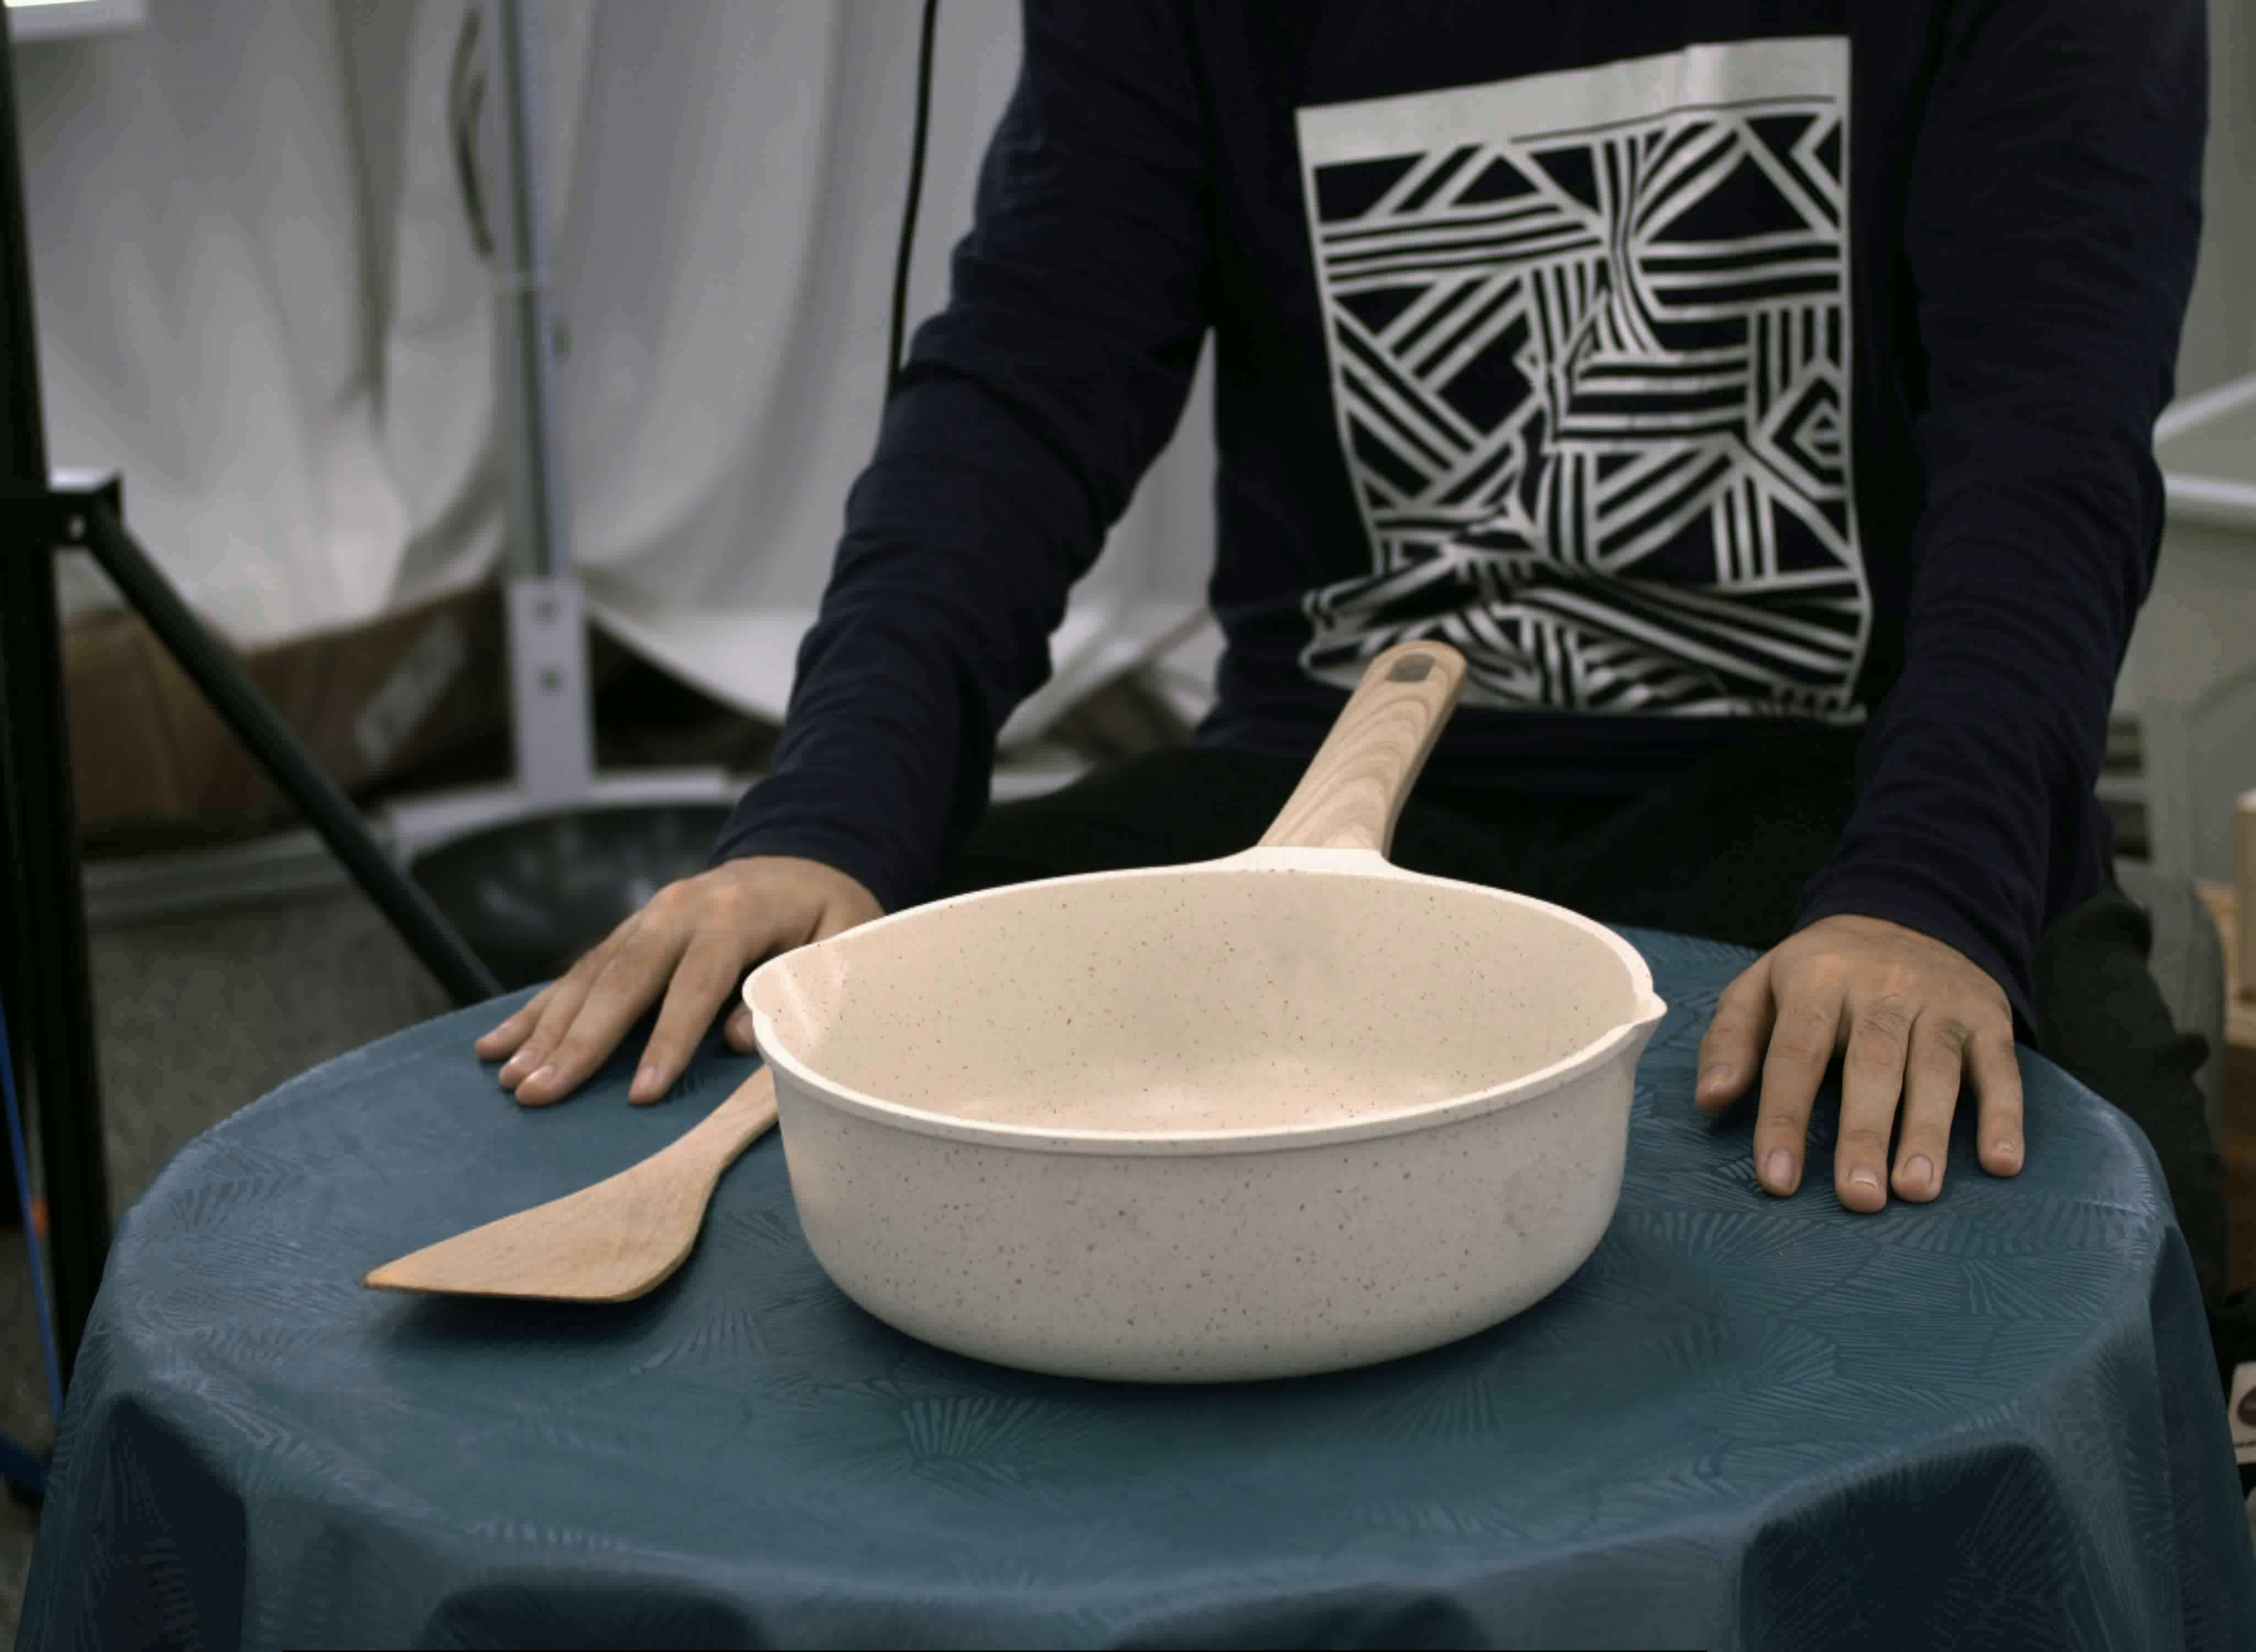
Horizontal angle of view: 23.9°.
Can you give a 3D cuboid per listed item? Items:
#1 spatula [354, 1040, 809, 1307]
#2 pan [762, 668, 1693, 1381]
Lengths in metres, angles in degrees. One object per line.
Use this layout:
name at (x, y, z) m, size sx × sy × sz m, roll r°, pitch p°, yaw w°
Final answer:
spatula at (-0.125, 0.094, 1.603) m, size 0.081 × 0.016 × 0.323 m, roll 3°, pitch 16°, yaw 20°
pan at (0.049, 0.053, 1.567) m, size 0.265 × 0.102 × 0.431 m, roll 1°, pitch 15°, yaw 15°
